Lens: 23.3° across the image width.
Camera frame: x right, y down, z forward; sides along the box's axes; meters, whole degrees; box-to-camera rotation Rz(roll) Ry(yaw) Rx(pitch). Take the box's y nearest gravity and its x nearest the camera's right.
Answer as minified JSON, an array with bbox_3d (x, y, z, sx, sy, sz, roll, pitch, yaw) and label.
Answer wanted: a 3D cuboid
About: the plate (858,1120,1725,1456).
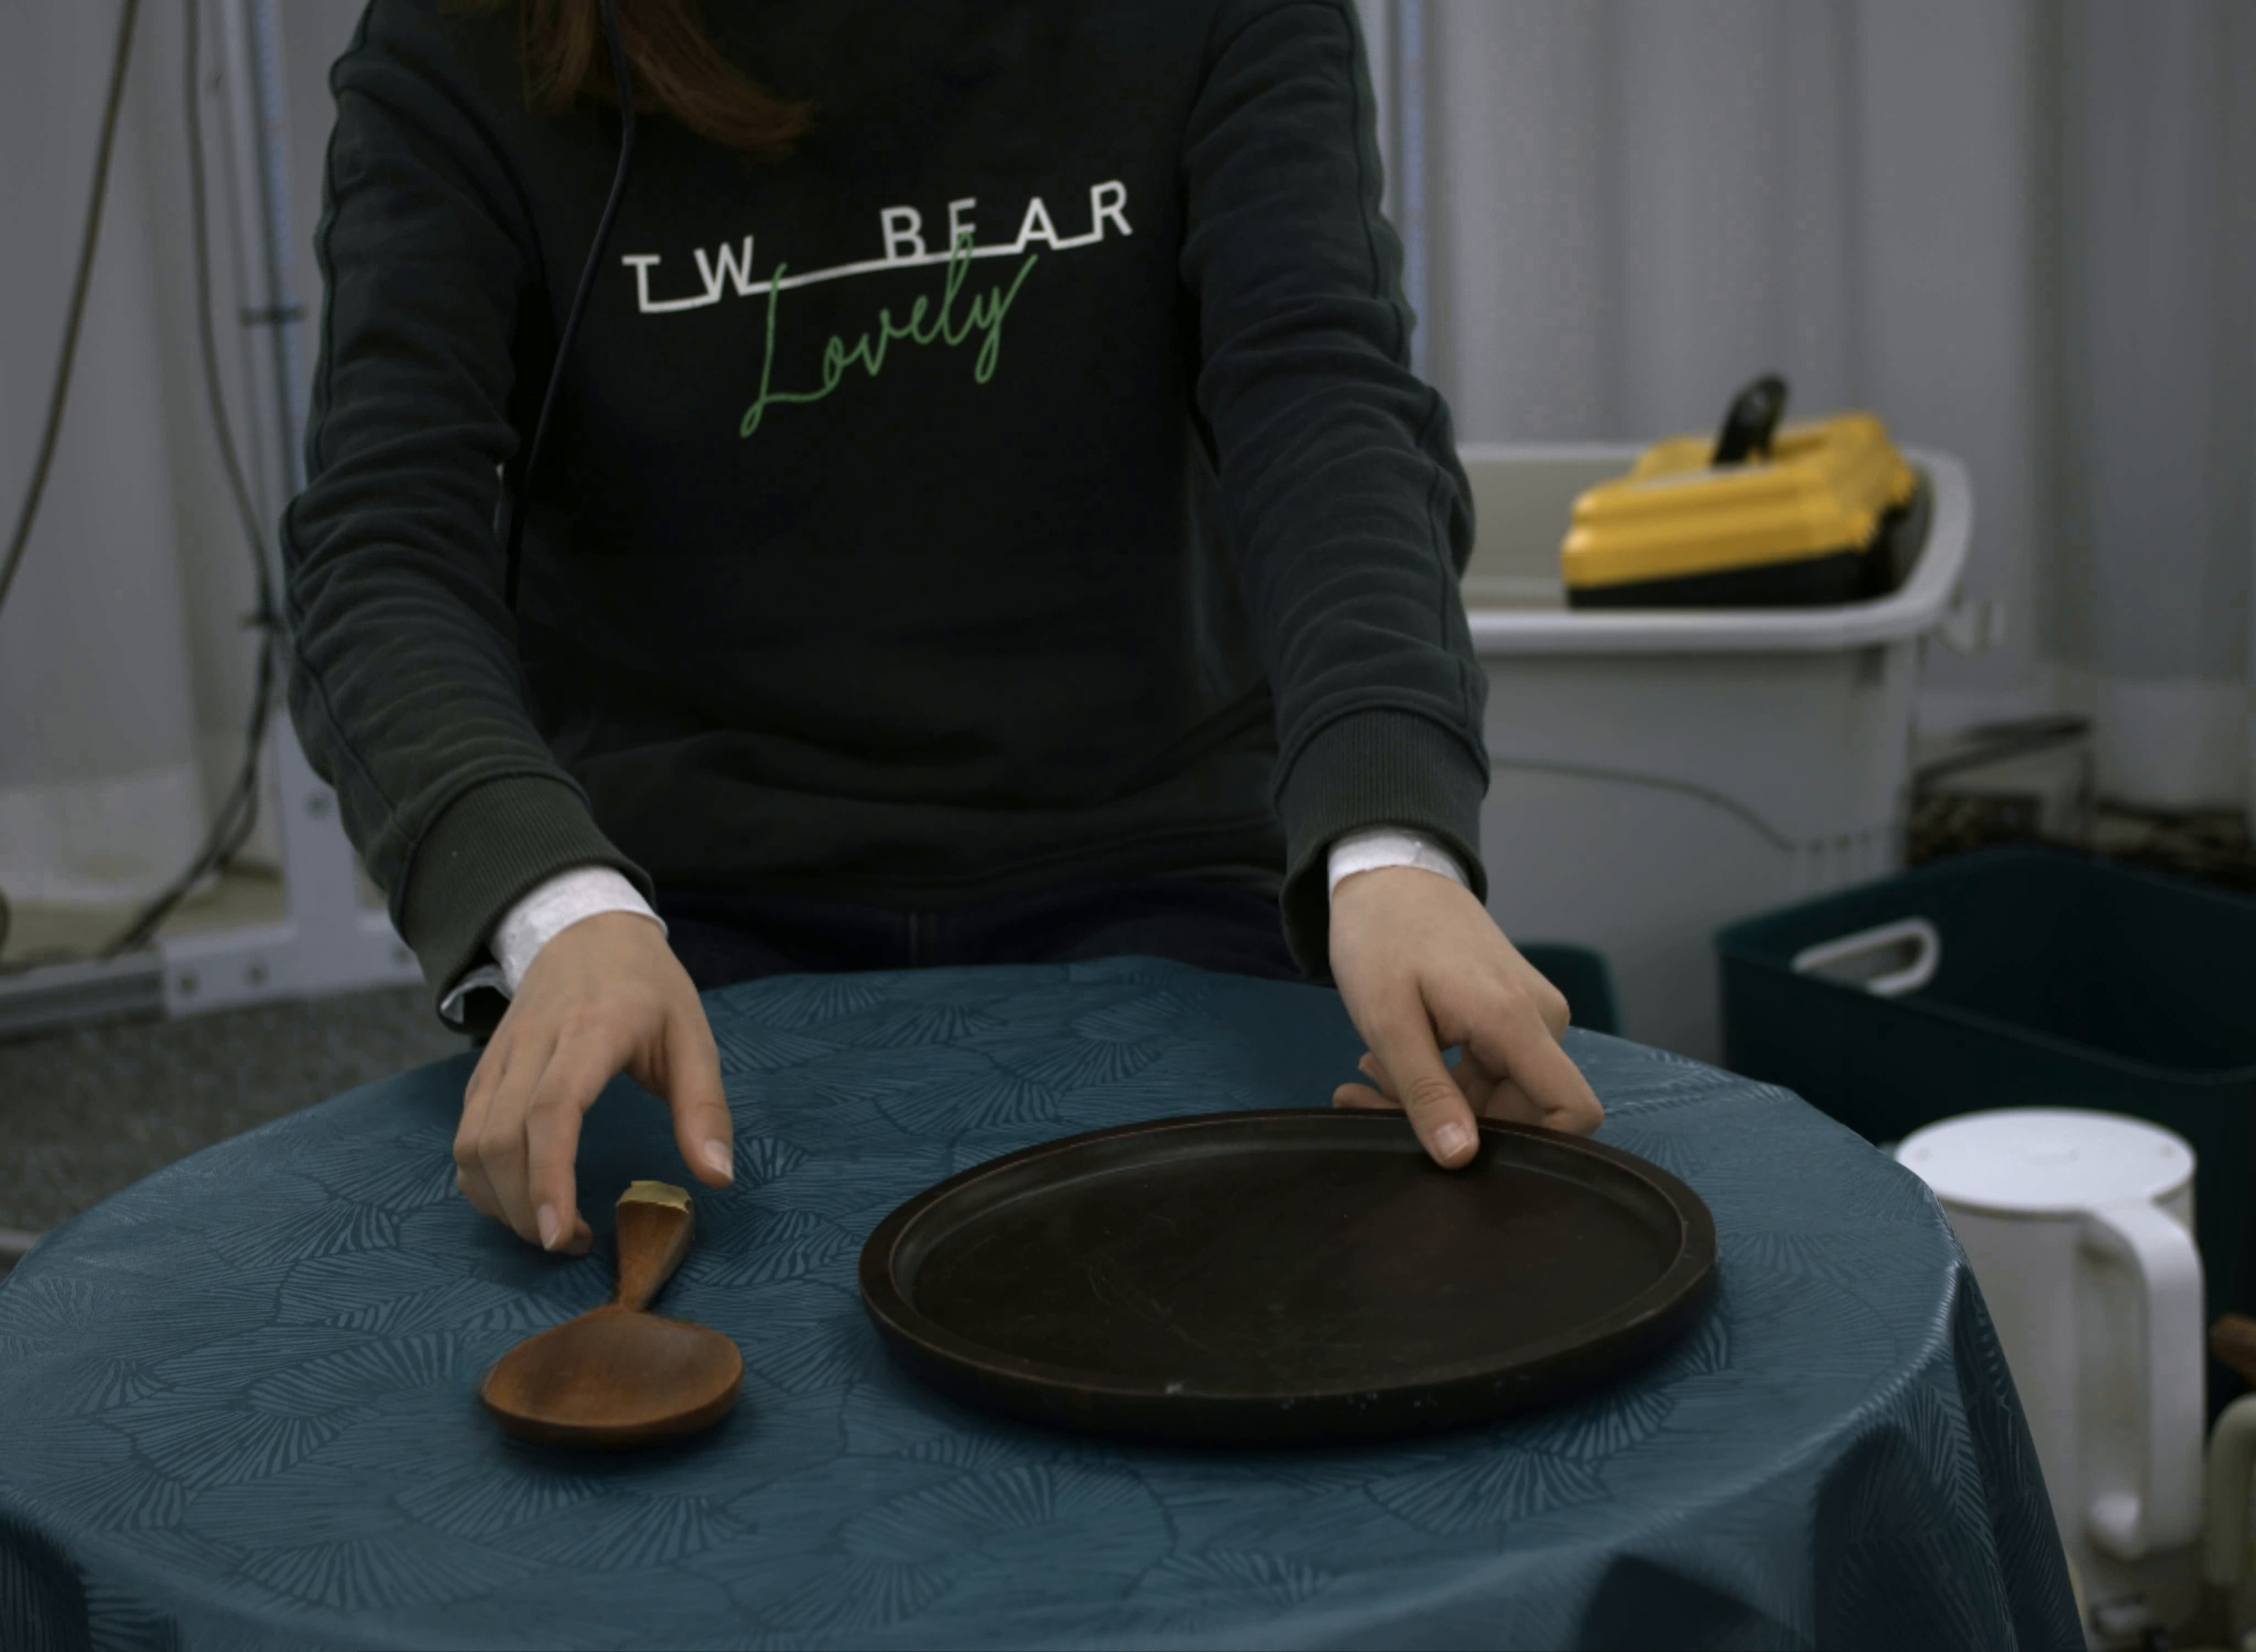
[{"bbox_3d":[0.047,0.132,1.600,0.254,0.029,0.256,-2,16,0],"label":"plate"}]

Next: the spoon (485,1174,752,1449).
[{"bbox_3d":[-0.144,0.143,1.602,0.075,0.017,0.217,-3,15,0],"label":"spoon"}]
